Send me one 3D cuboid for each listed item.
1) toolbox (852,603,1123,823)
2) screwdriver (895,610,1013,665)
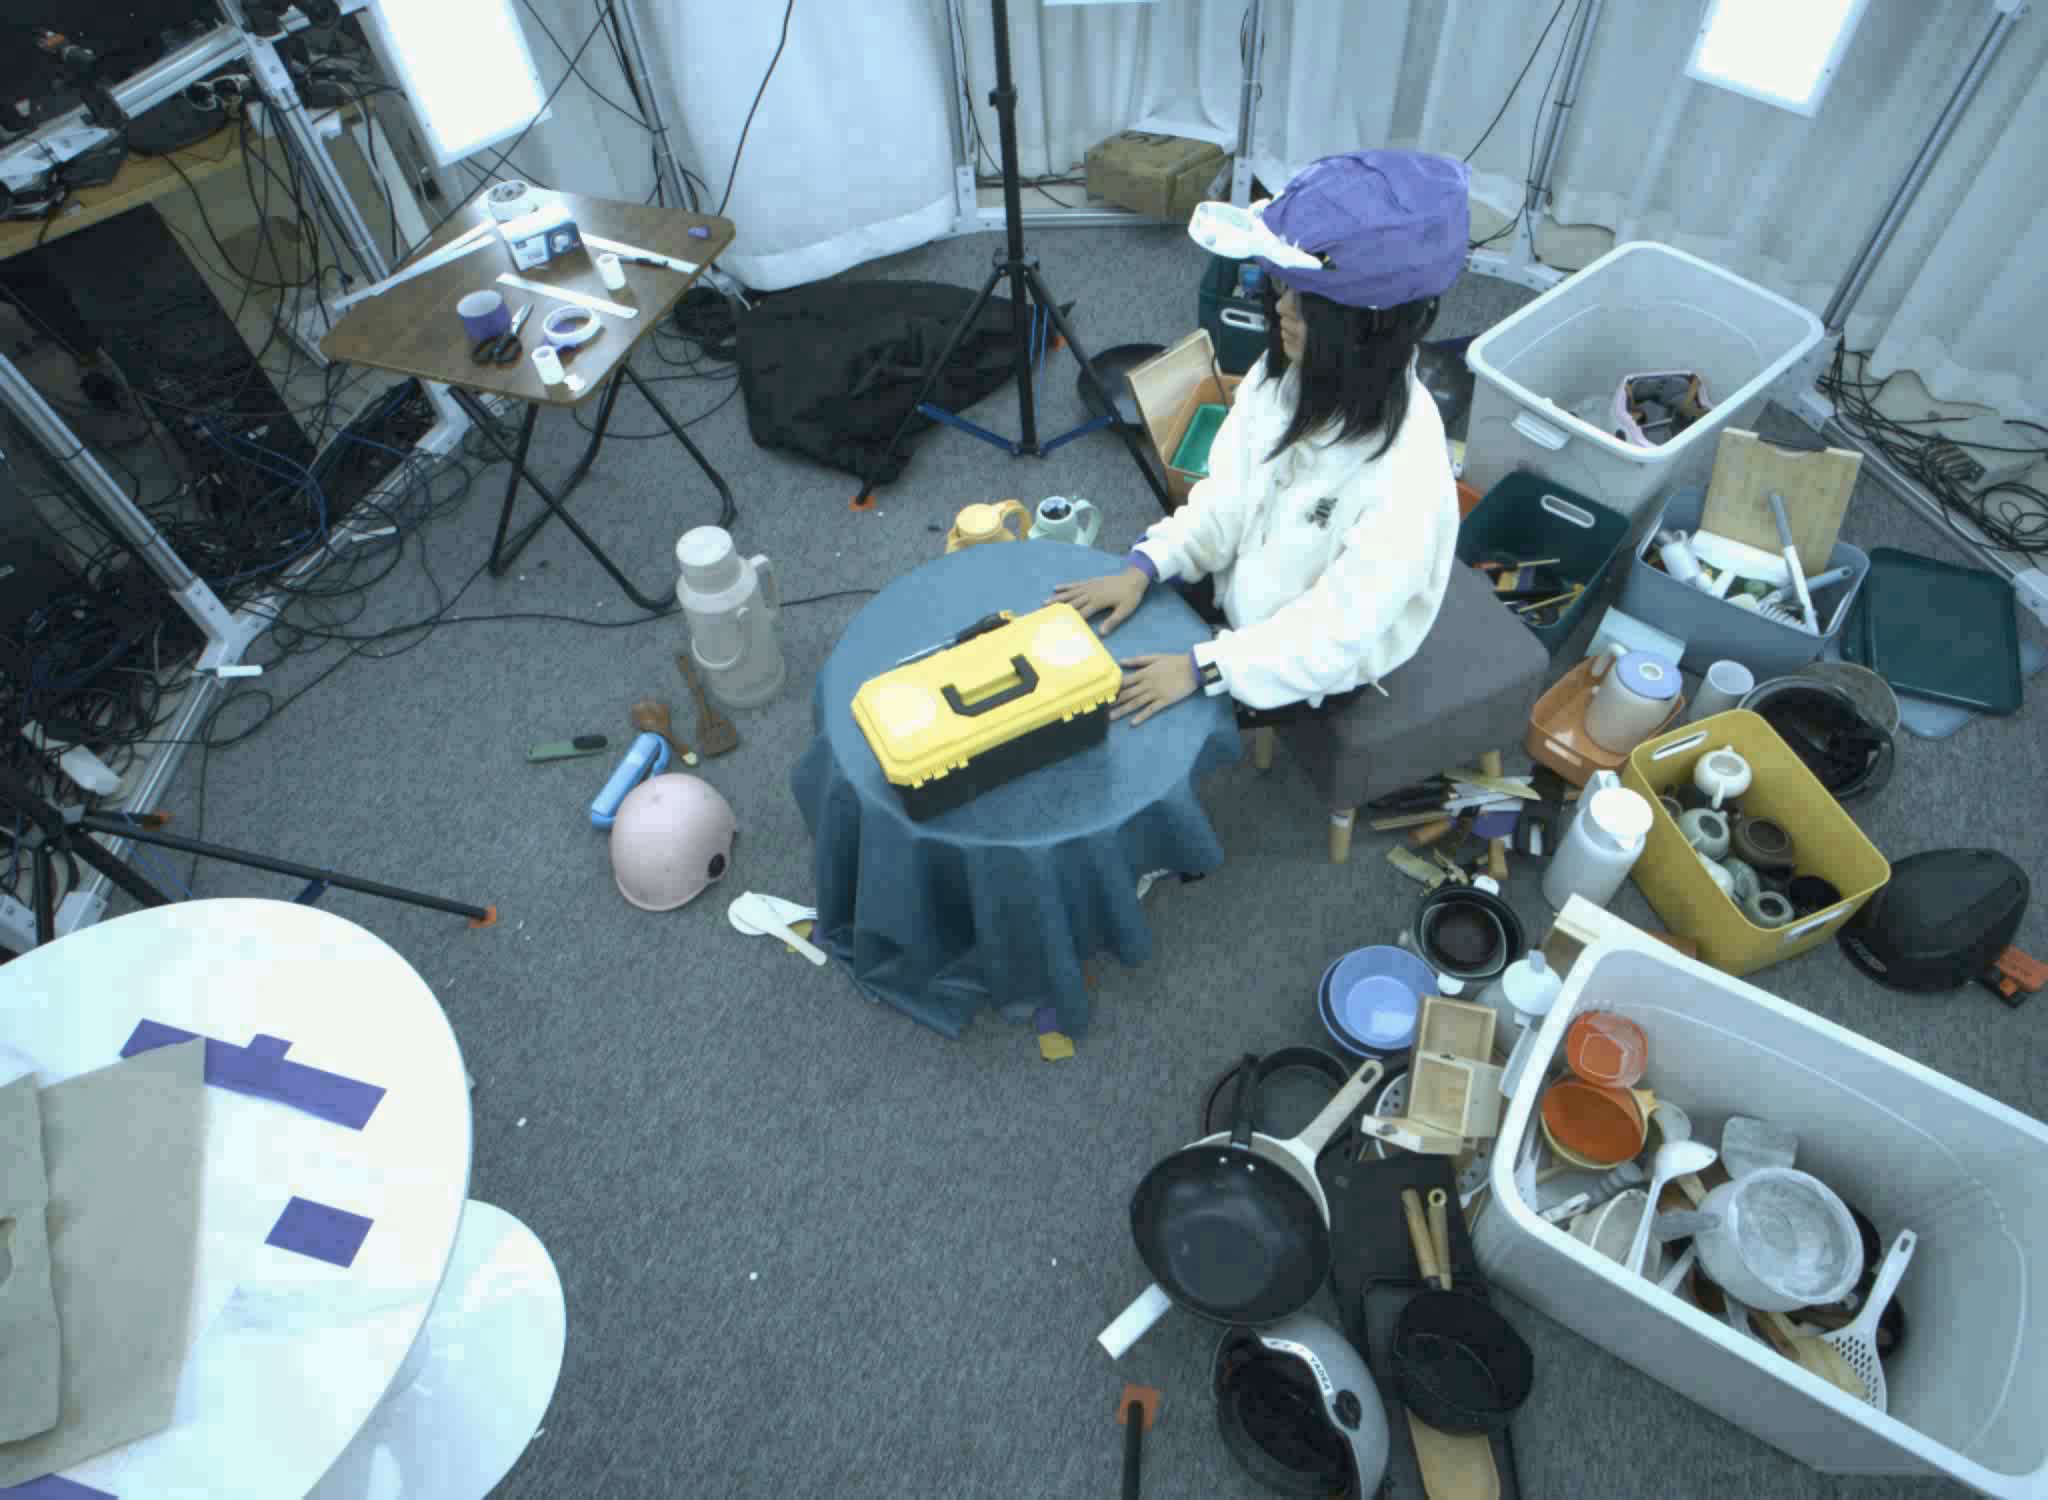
[{"bbox_3d":[-0.048,-0.050,1.718,0.354,0.175,0.178,-24,57,-14],"label":"toolbox"},{"bbox_3d":[-0.110,-0.175,1.895,0.197,0.032,0.031,-21,57,-11],"label":"screwdriver"}]
